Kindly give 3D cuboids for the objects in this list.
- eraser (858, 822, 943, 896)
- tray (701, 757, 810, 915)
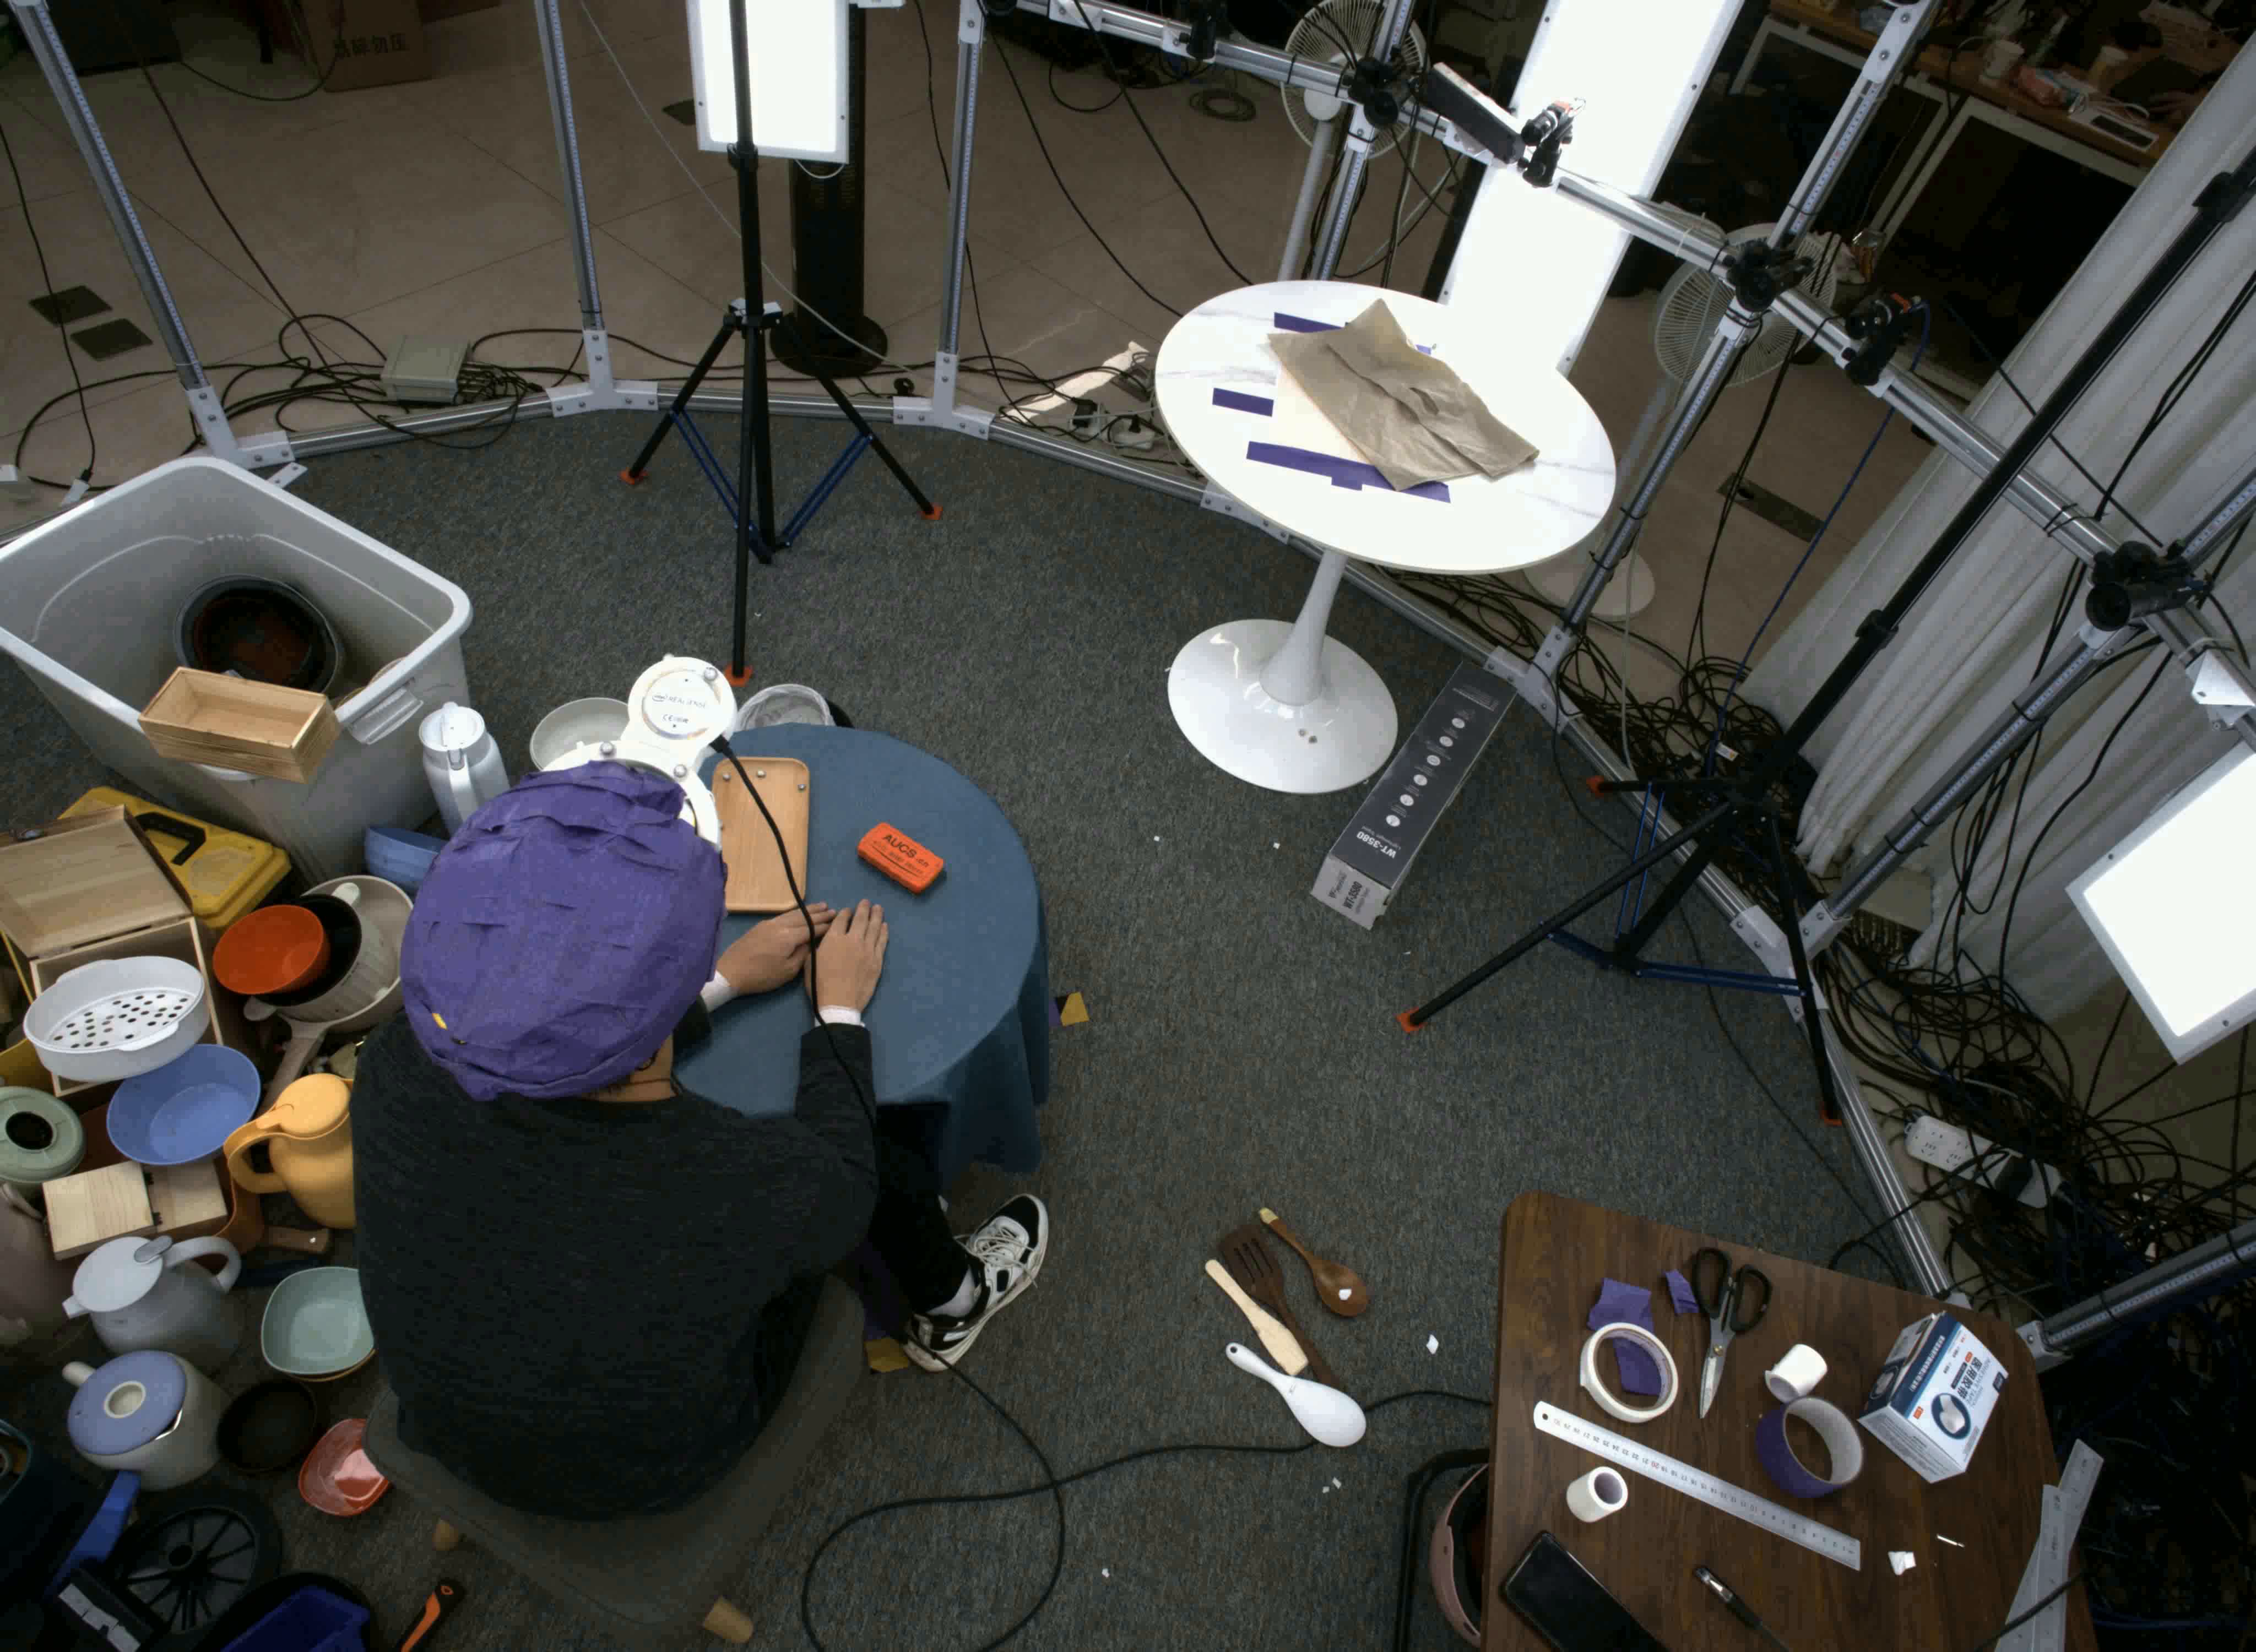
[{"bbox_3d":[-0.299,0.041,1.705,0.106,0.023,0.059,33,53,11],"label":"eraser"},{"bbox_3d":[-0.482,0.010,1.685,0.130,0.023,0.245,1,54,-11],"label":"tray"}]
